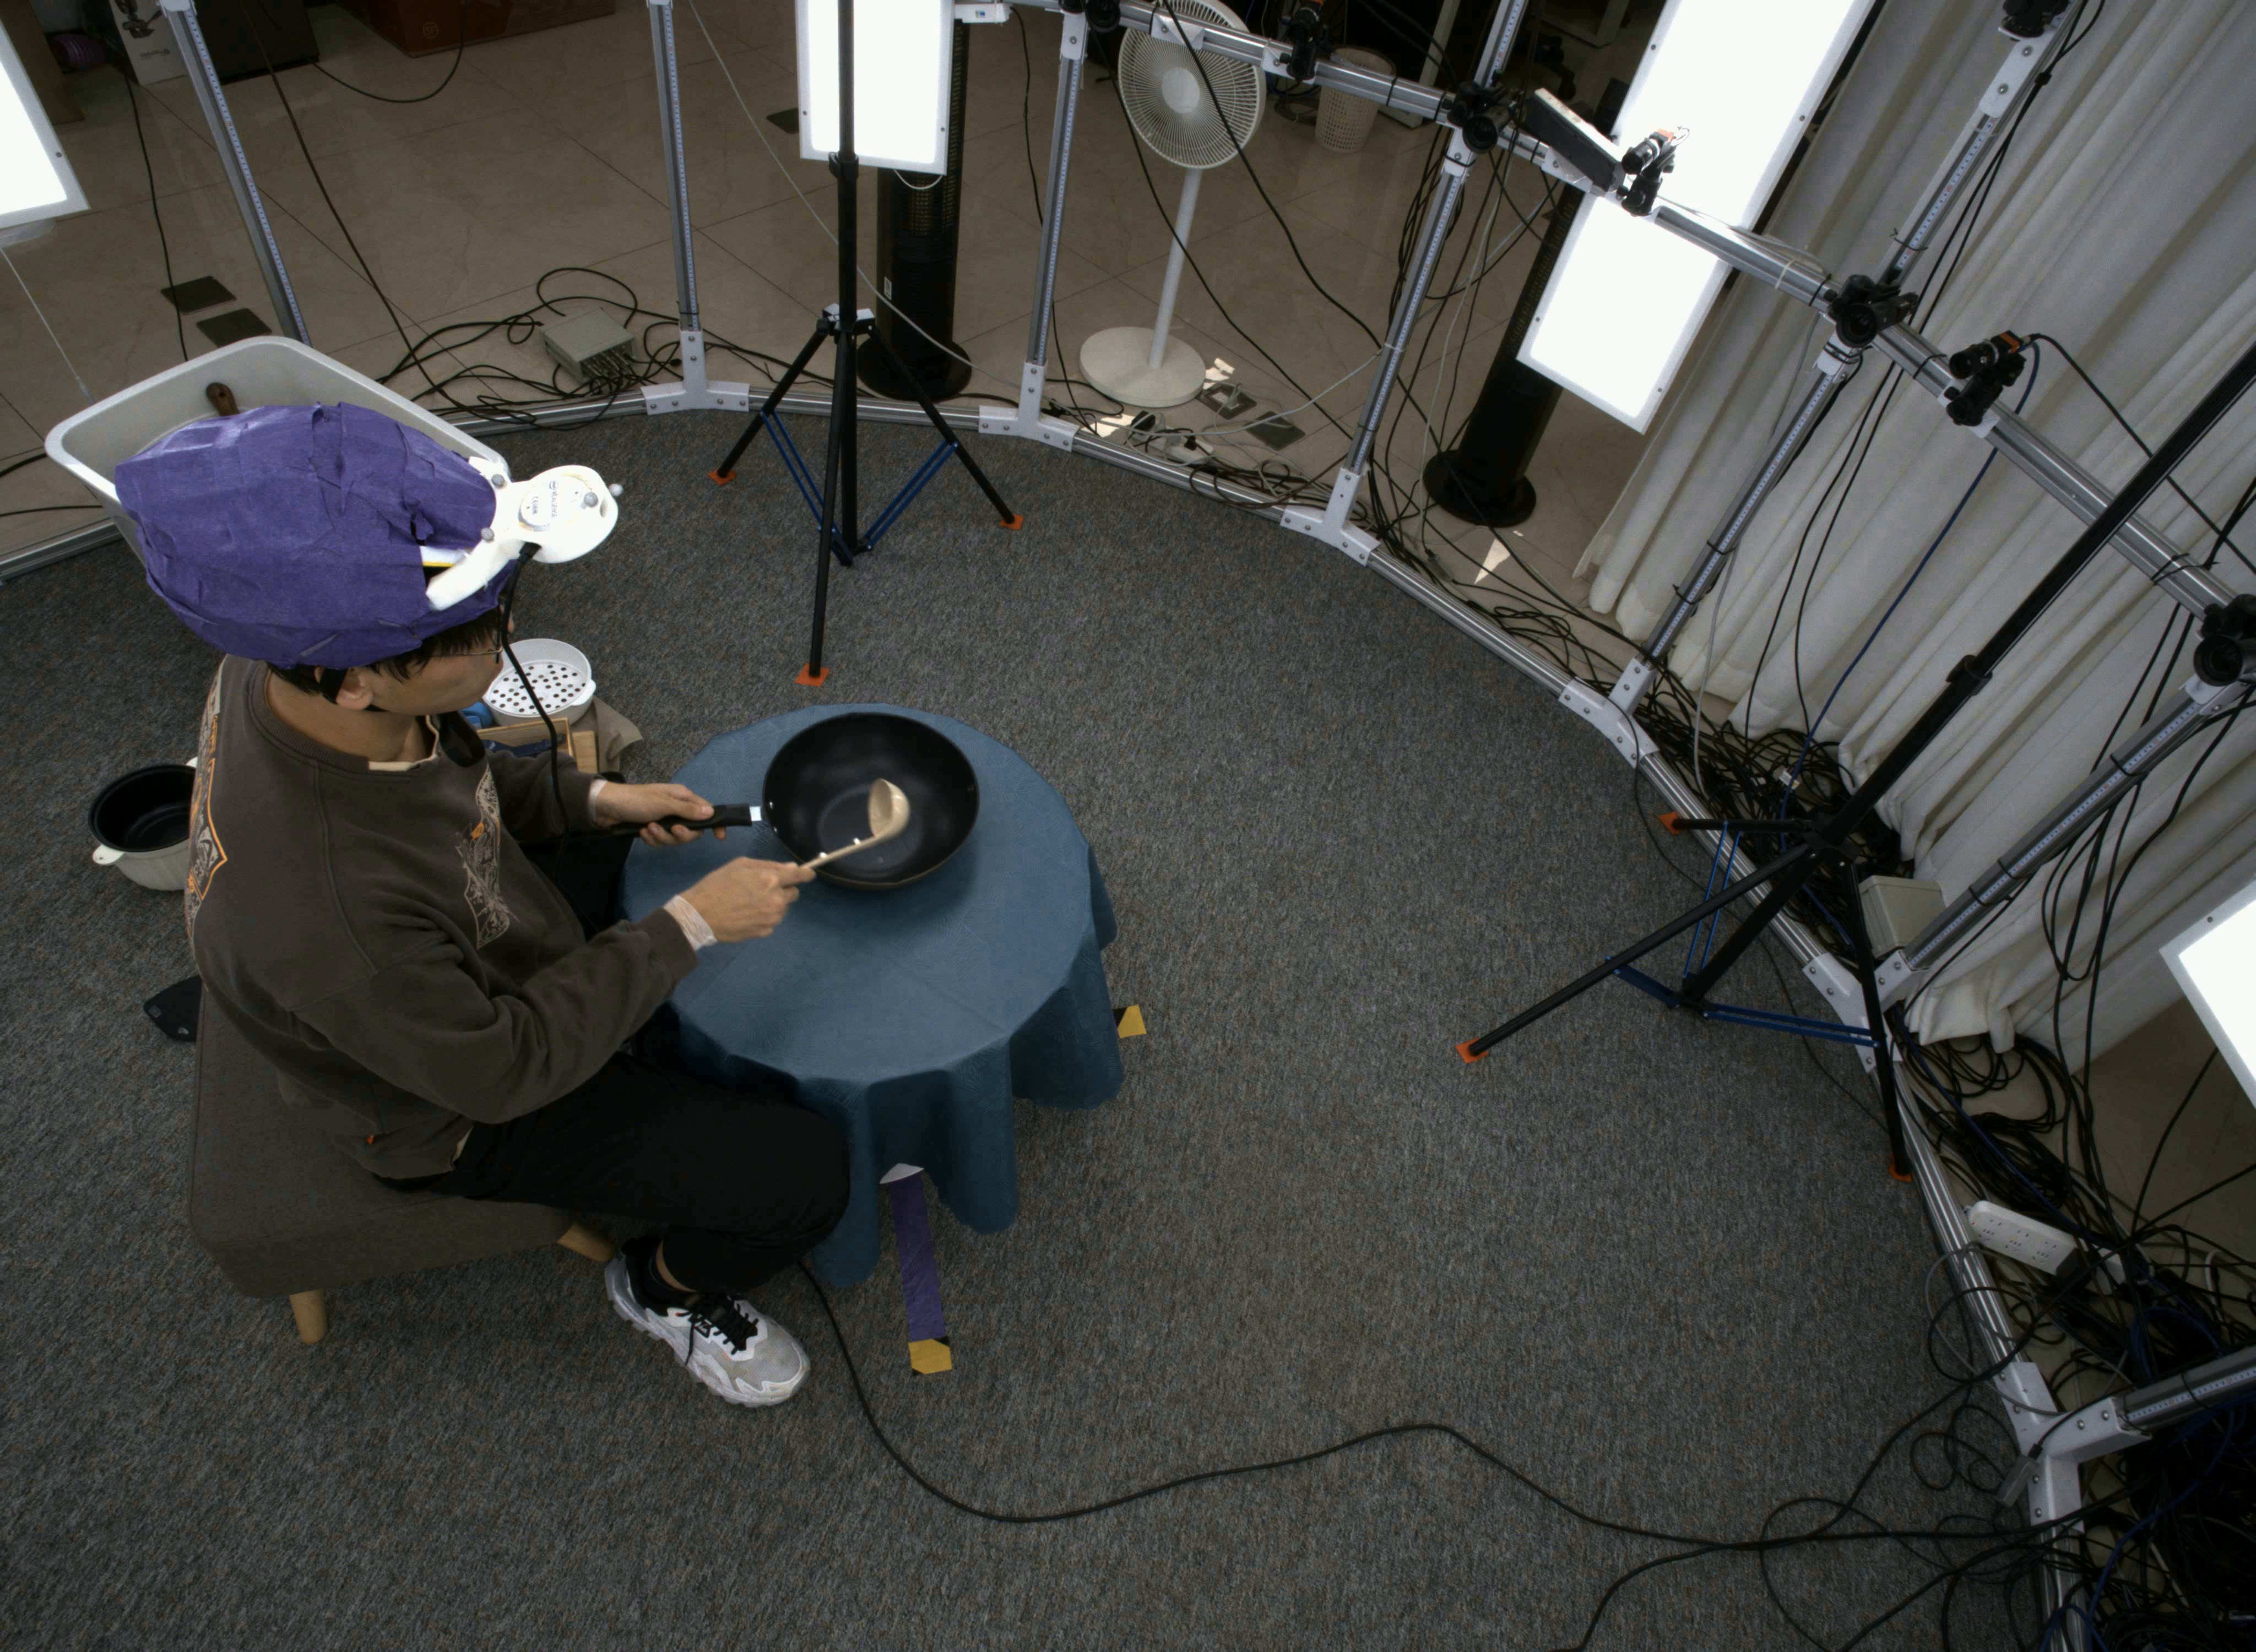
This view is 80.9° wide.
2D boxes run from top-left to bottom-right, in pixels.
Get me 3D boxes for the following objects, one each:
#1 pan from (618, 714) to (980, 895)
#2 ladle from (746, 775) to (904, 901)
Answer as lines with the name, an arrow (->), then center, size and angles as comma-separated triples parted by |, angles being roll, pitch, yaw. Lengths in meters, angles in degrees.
pan -> -0.421, -0.003, 1.688 | 0.464, 0.089, 0.281 | -9, 57, -18
ladle -> -0.370, 0.008, 1.541 | 0.256, 0.071, 0.073 | -30, 90, -48
